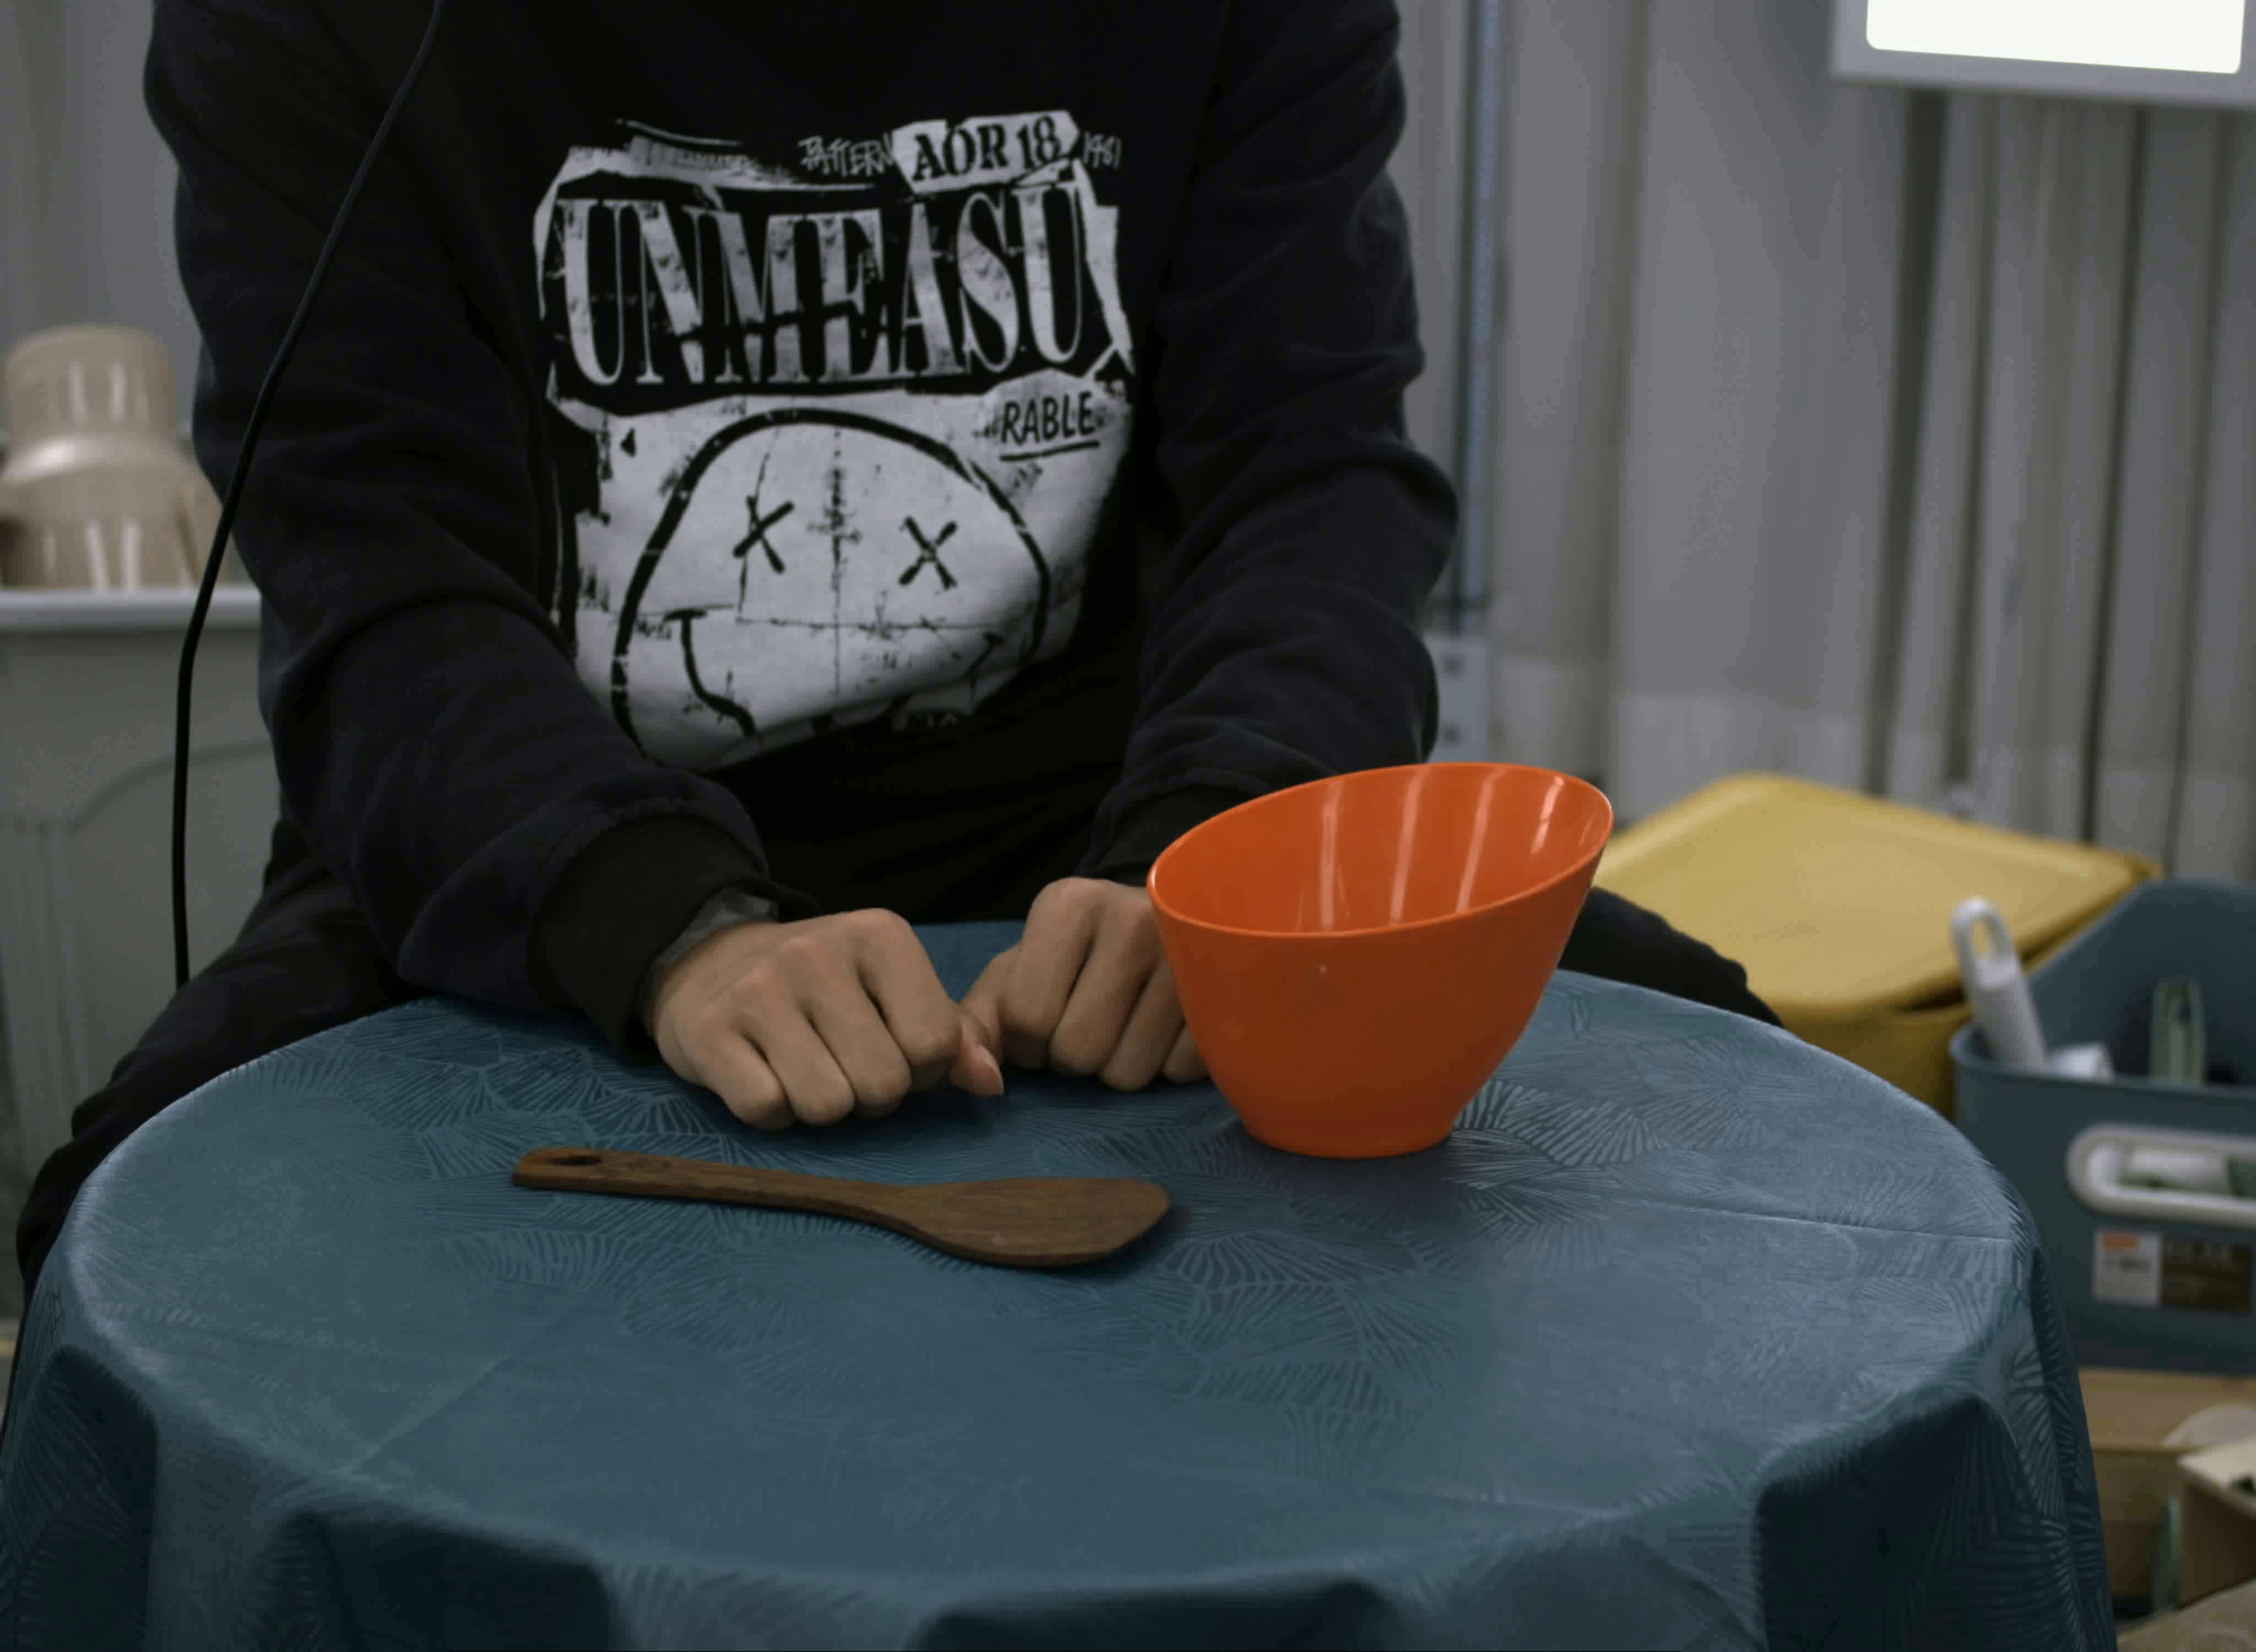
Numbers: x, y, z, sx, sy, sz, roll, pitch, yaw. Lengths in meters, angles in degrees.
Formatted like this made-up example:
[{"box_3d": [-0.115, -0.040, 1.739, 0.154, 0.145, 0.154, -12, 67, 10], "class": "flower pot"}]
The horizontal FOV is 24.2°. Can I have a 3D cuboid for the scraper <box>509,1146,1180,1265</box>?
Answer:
[{"box_3d": [-0.090, 0.113, 1.607, 0.209, 0.011, 0.076, 5, 15, 17], "class": "scraper"}]

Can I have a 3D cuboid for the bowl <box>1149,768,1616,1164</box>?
[{"box_3d": [0.080, 0.047, 1.676, 0.147, 0.105, 0.147, 1, 17, 0], "class": "bowl"}]
